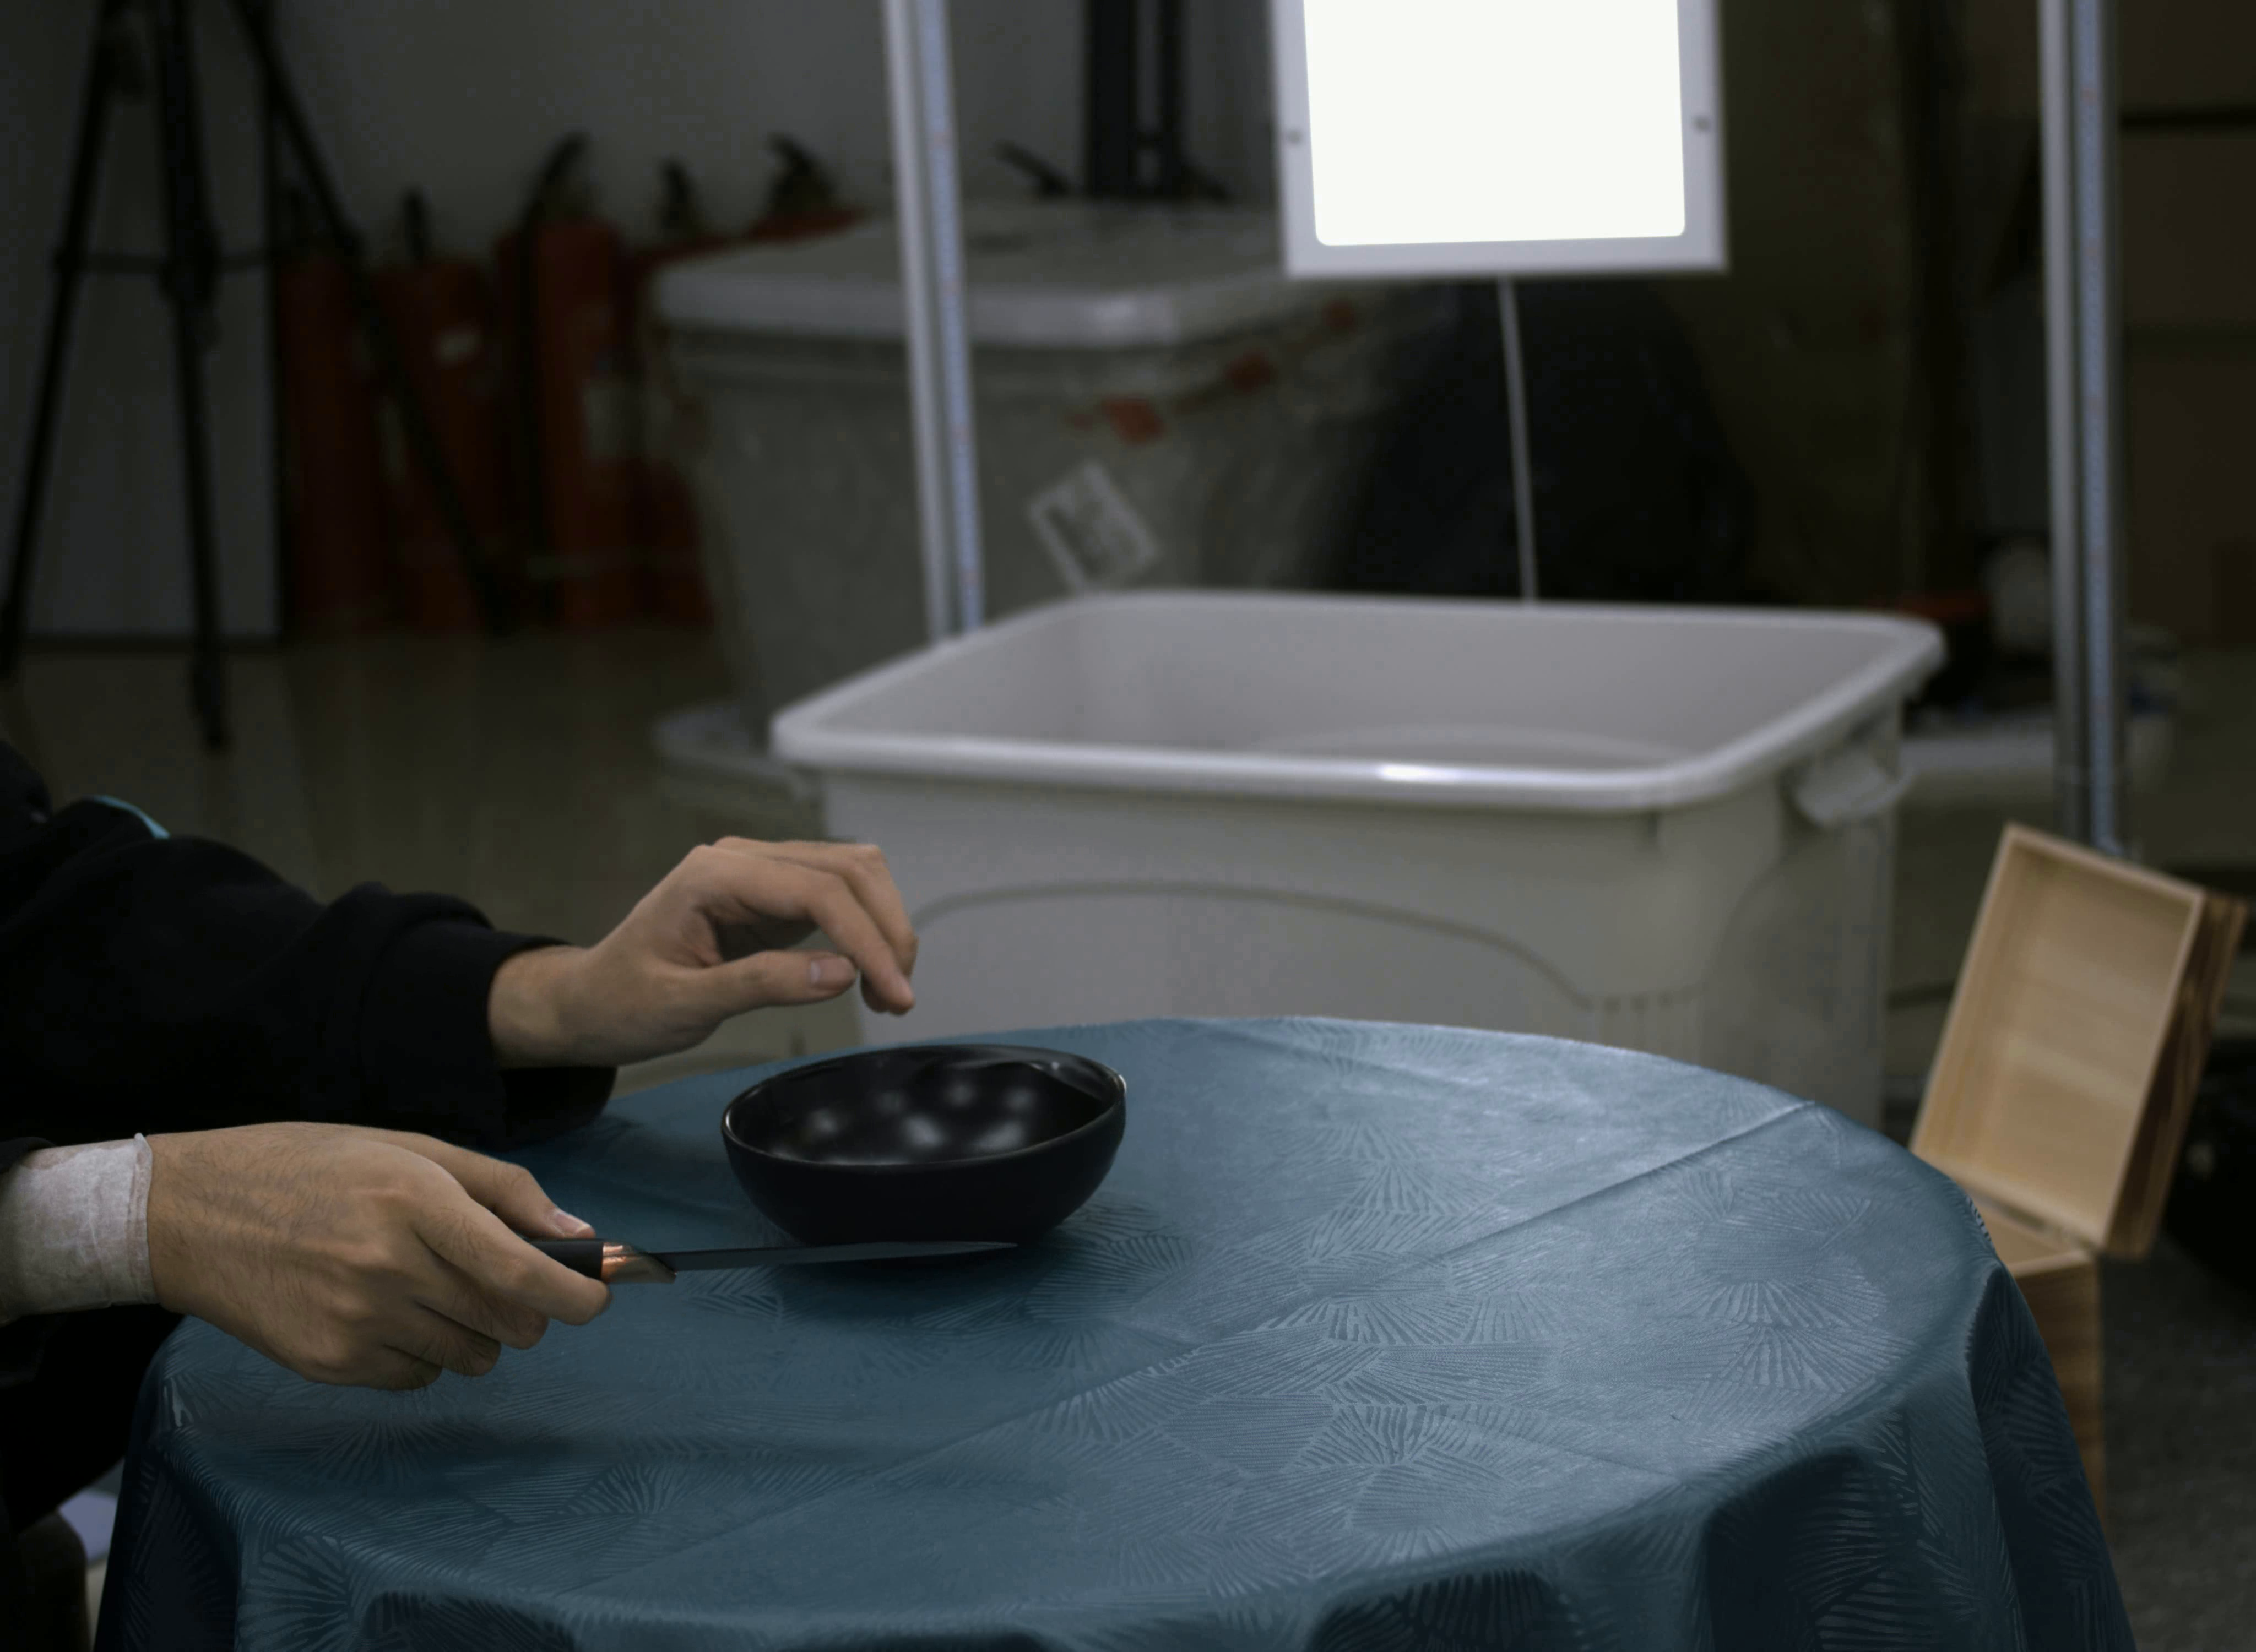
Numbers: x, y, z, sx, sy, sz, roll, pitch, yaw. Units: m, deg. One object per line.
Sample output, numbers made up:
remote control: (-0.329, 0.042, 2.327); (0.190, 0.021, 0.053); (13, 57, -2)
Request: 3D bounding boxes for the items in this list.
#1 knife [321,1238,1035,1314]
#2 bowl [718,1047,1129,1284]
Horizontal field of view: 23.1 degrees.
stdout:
knife: (-0.139, 0.135, 1.695); (0.227, 0.017, 0.026); (-5, -16, 14)
bowl: (-0.066, 0.119, 1.859); (0.140, 0.050, 0.140); (-9, 14, 1)
